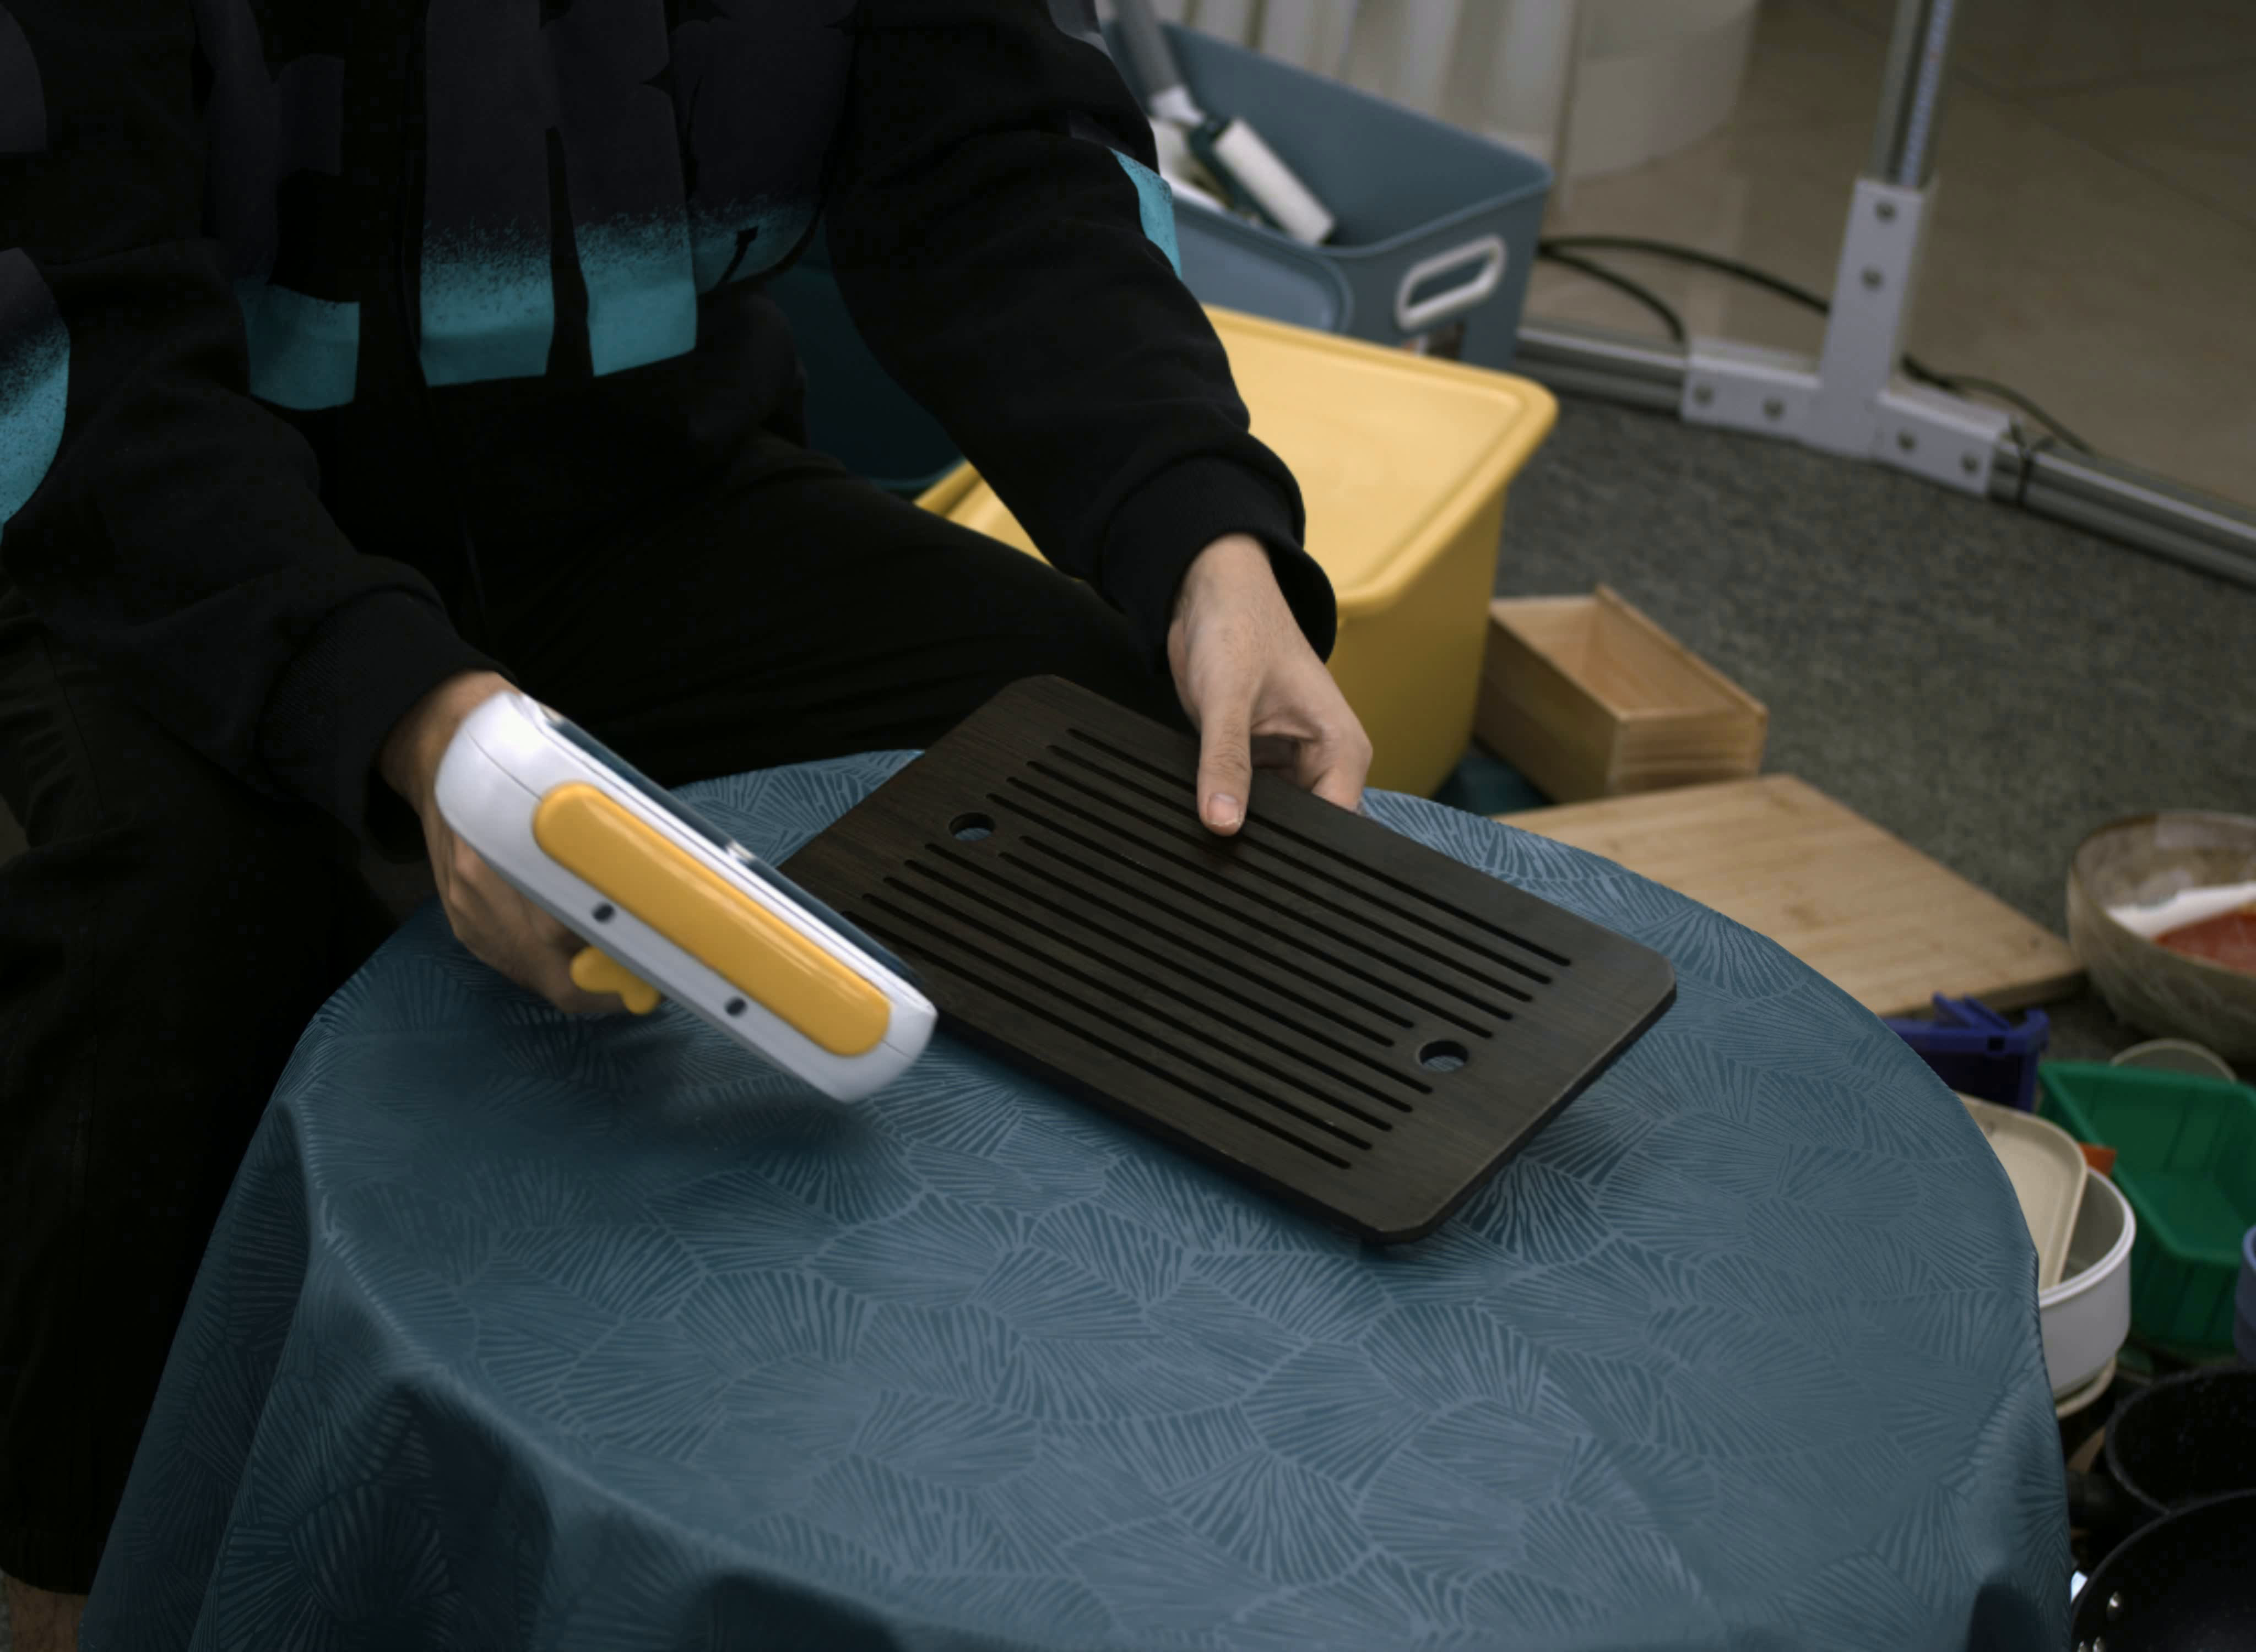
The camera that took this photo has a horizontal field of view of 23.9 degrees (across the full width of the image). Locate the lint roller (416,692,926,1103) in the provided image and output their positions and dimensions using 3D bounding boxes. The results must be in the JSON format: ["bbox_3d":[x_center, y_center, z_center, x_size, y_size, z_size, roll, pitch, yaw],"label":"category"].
[{"bbox_3d":[-0.174,0.023,1.829,0.191,0.074,0.193,31,-3,-20],"label":"lint roller"}]

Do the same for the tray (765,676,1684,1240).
[{"bbox_3d":[0.030,0.044,1.897,0.308,0.018,0.170,25,48,32],"label":"tray"}]
